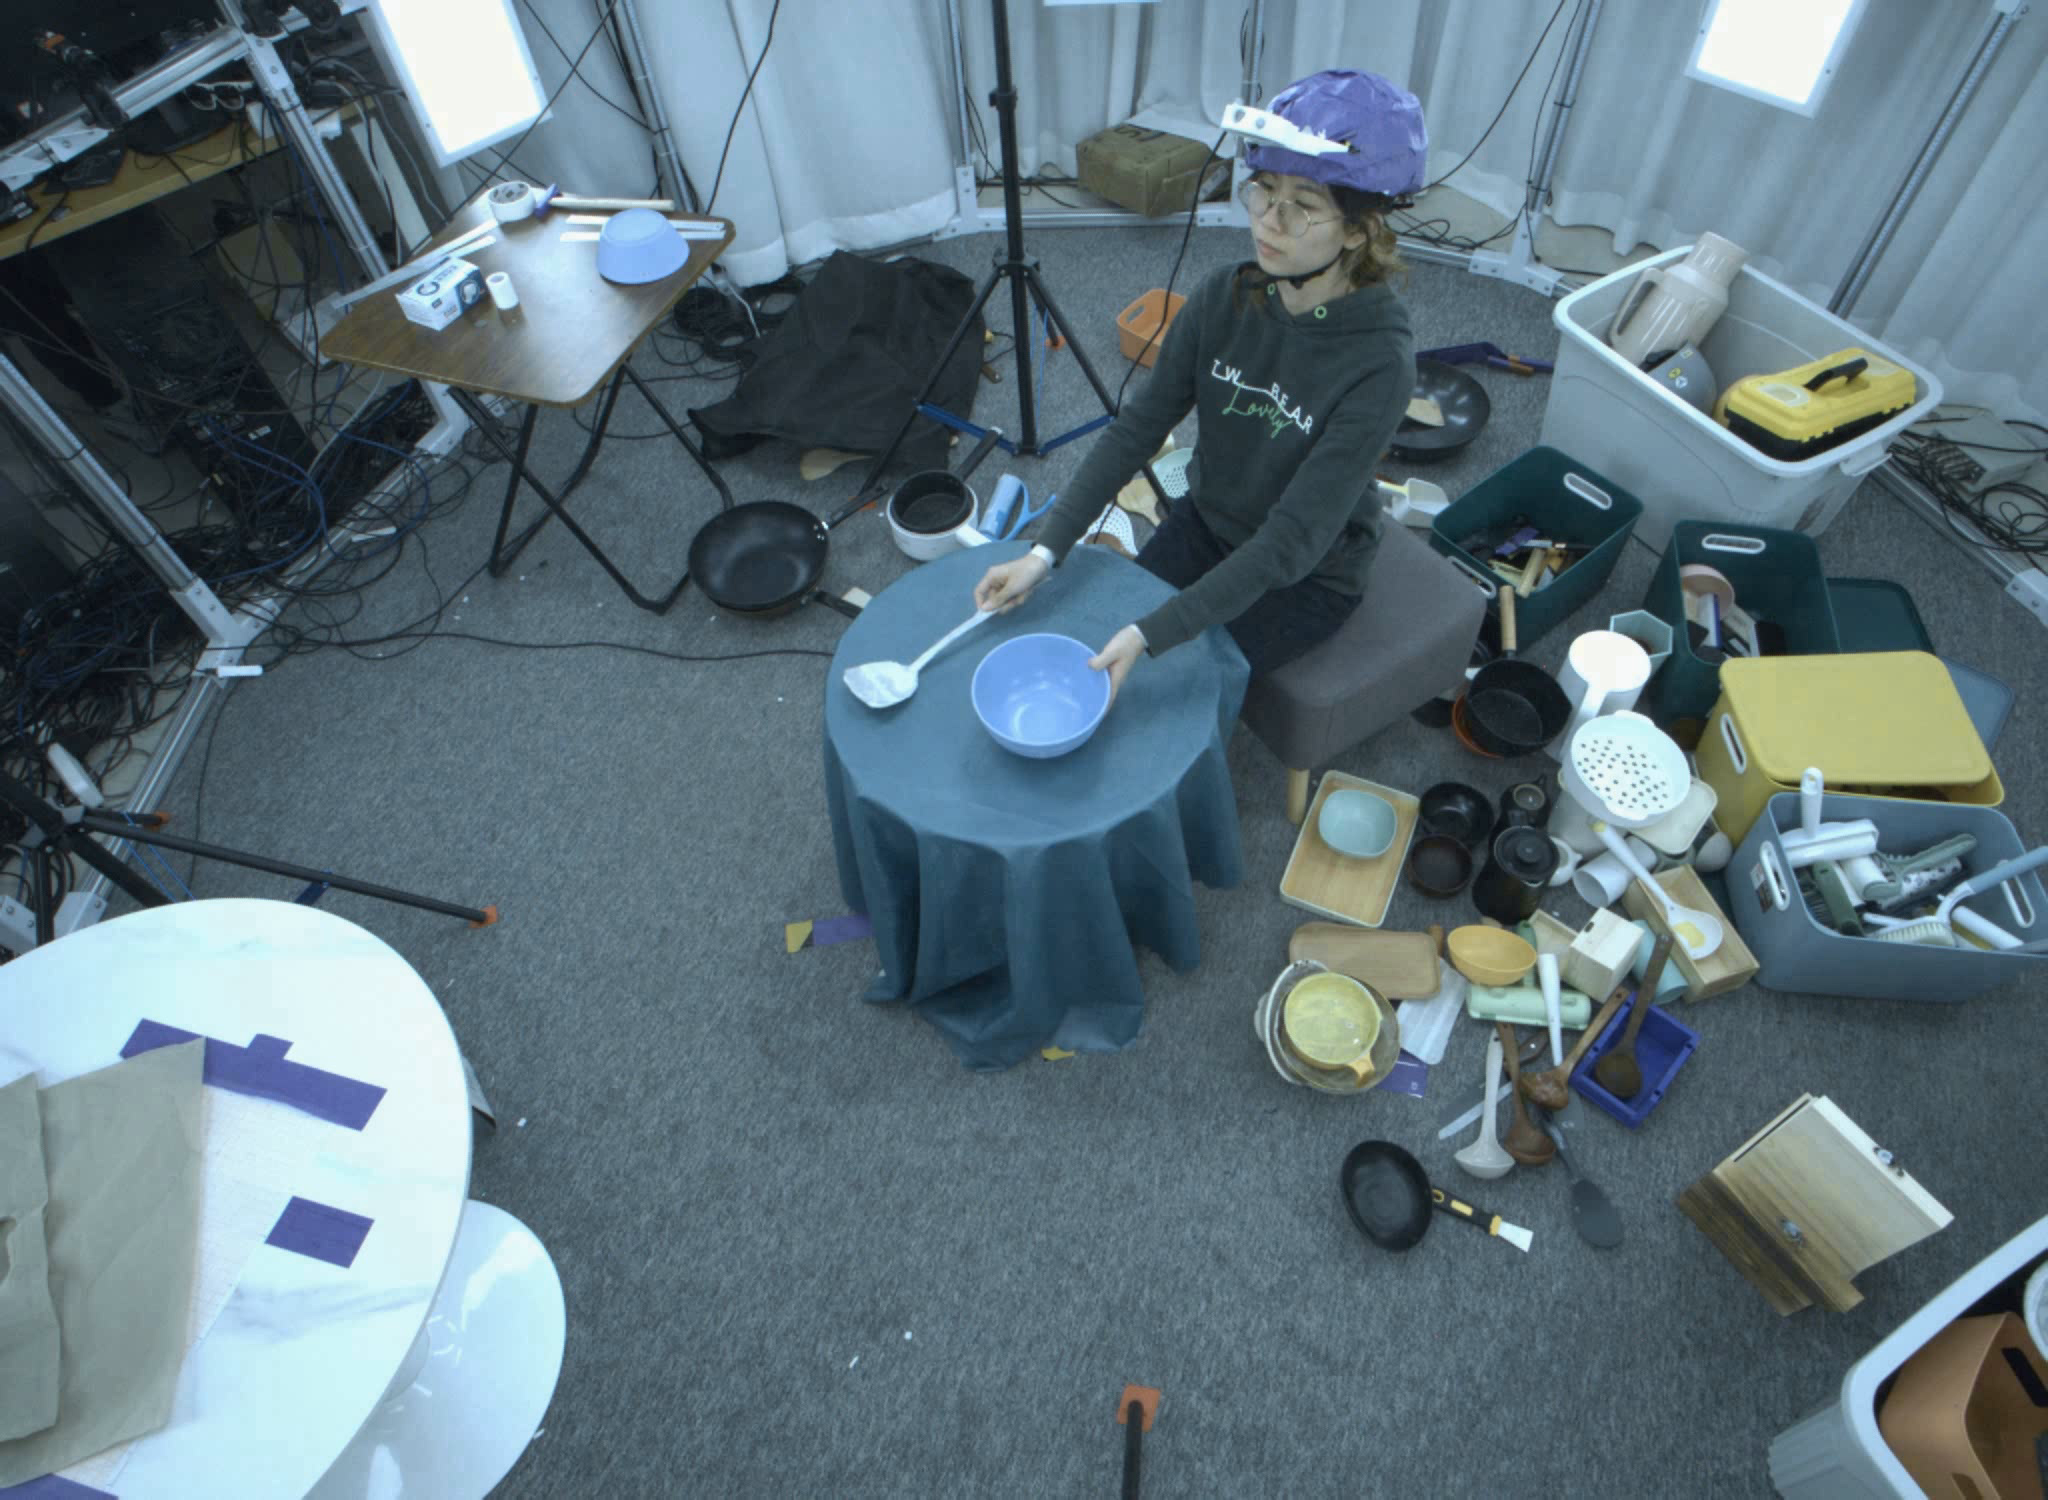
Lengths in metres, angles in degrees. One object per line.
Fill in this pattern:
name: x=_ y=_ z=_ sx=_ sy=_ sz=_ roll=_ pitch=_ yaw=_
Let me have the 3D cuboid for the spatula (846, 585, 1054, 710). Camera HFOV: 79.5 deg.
spatula: x=-0.106 y=-0.172 z=1.885 sx=0.367 sy=0.045 sz=0.097 roll=-36 pitch=58 yaw=-15

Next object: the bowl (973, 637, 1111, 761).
bowl: x=0.028 y=-0.059 z=1.776 sx=0.196 sy=0.096 sz=0.194 roll=-1 pitch=57 yaw=2
